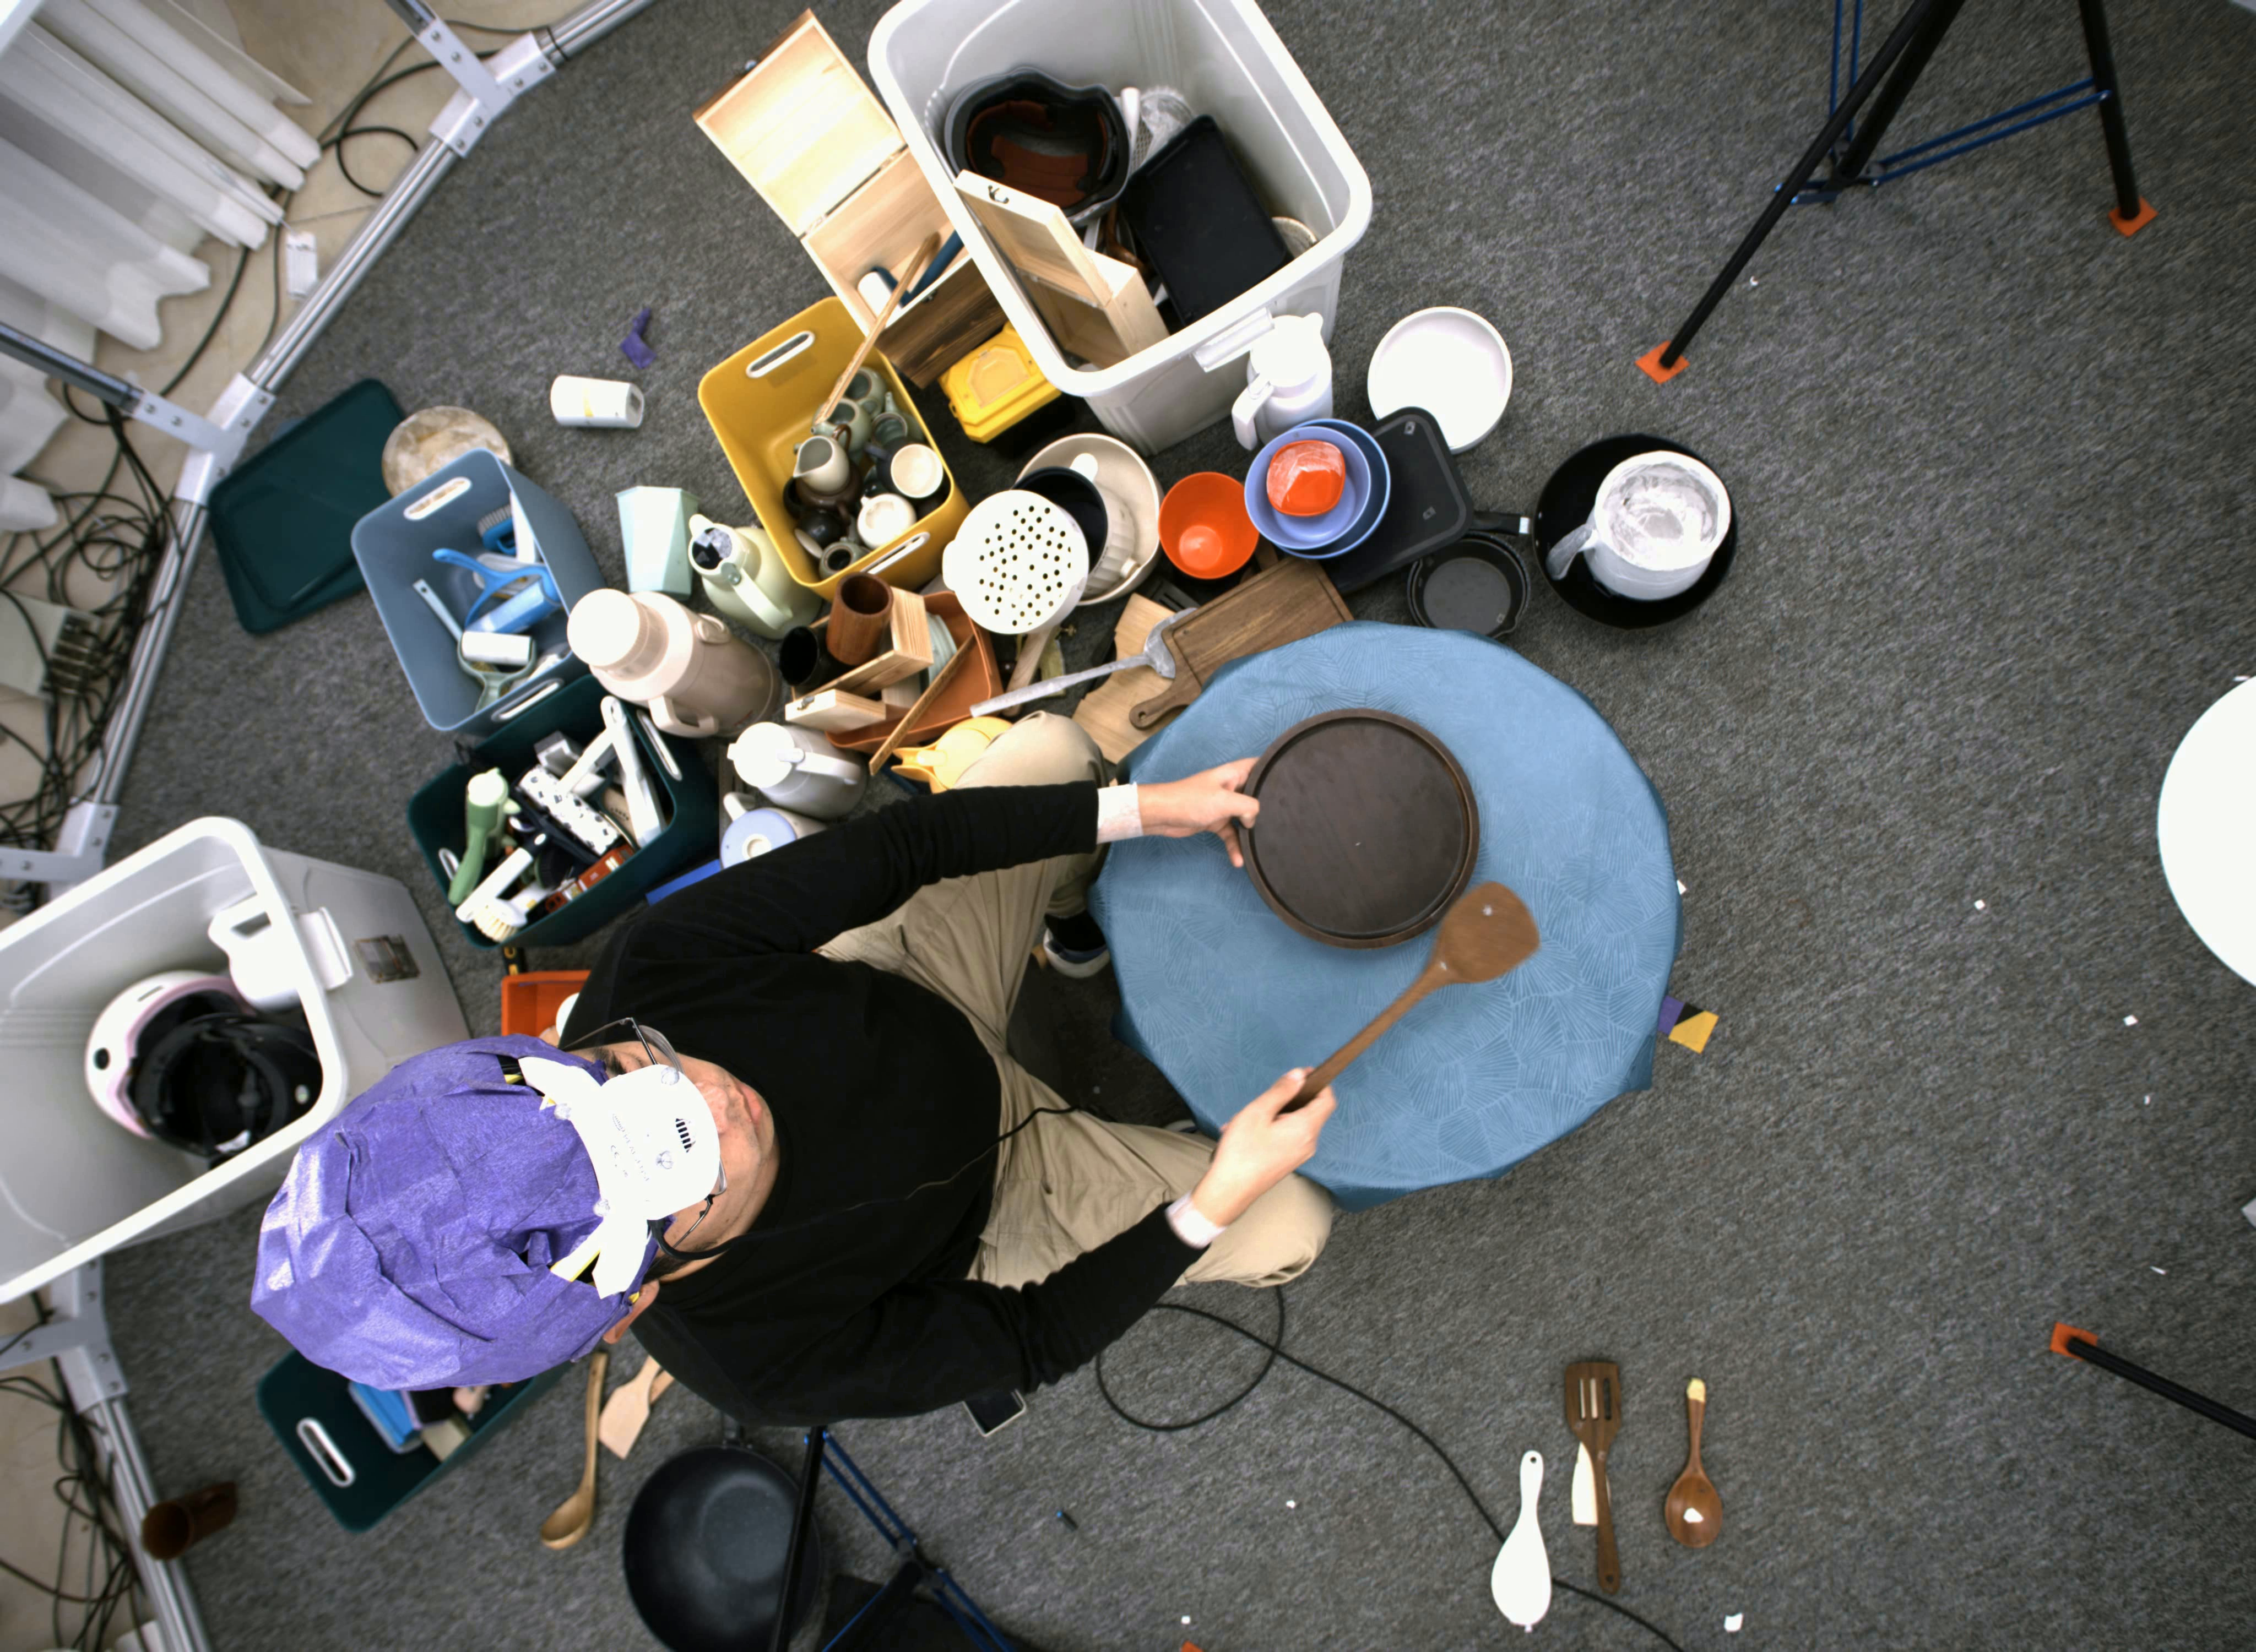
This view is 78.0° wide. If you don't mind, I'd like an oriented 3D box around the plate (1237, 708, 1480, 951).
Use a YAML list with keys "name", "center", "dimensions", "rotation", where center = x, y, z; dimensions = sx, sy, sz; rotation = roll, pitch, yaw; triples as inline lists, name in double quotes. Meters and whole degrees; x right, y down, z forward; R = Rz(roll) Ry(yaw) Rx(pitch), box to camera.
- name: "plate"
  center: [0.238, 0.002, 1.430]
  dimensions: [0.255, 0.029, 0.254]
  rotation: [0, 87, -2]

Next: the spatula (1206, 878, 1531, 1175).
- name: "spatula"
  center: [0.221, 0.198, 1.307]
  dimensions: [0.387, 0.015, 0.097]
  rotation: [-42, 109, 3]
